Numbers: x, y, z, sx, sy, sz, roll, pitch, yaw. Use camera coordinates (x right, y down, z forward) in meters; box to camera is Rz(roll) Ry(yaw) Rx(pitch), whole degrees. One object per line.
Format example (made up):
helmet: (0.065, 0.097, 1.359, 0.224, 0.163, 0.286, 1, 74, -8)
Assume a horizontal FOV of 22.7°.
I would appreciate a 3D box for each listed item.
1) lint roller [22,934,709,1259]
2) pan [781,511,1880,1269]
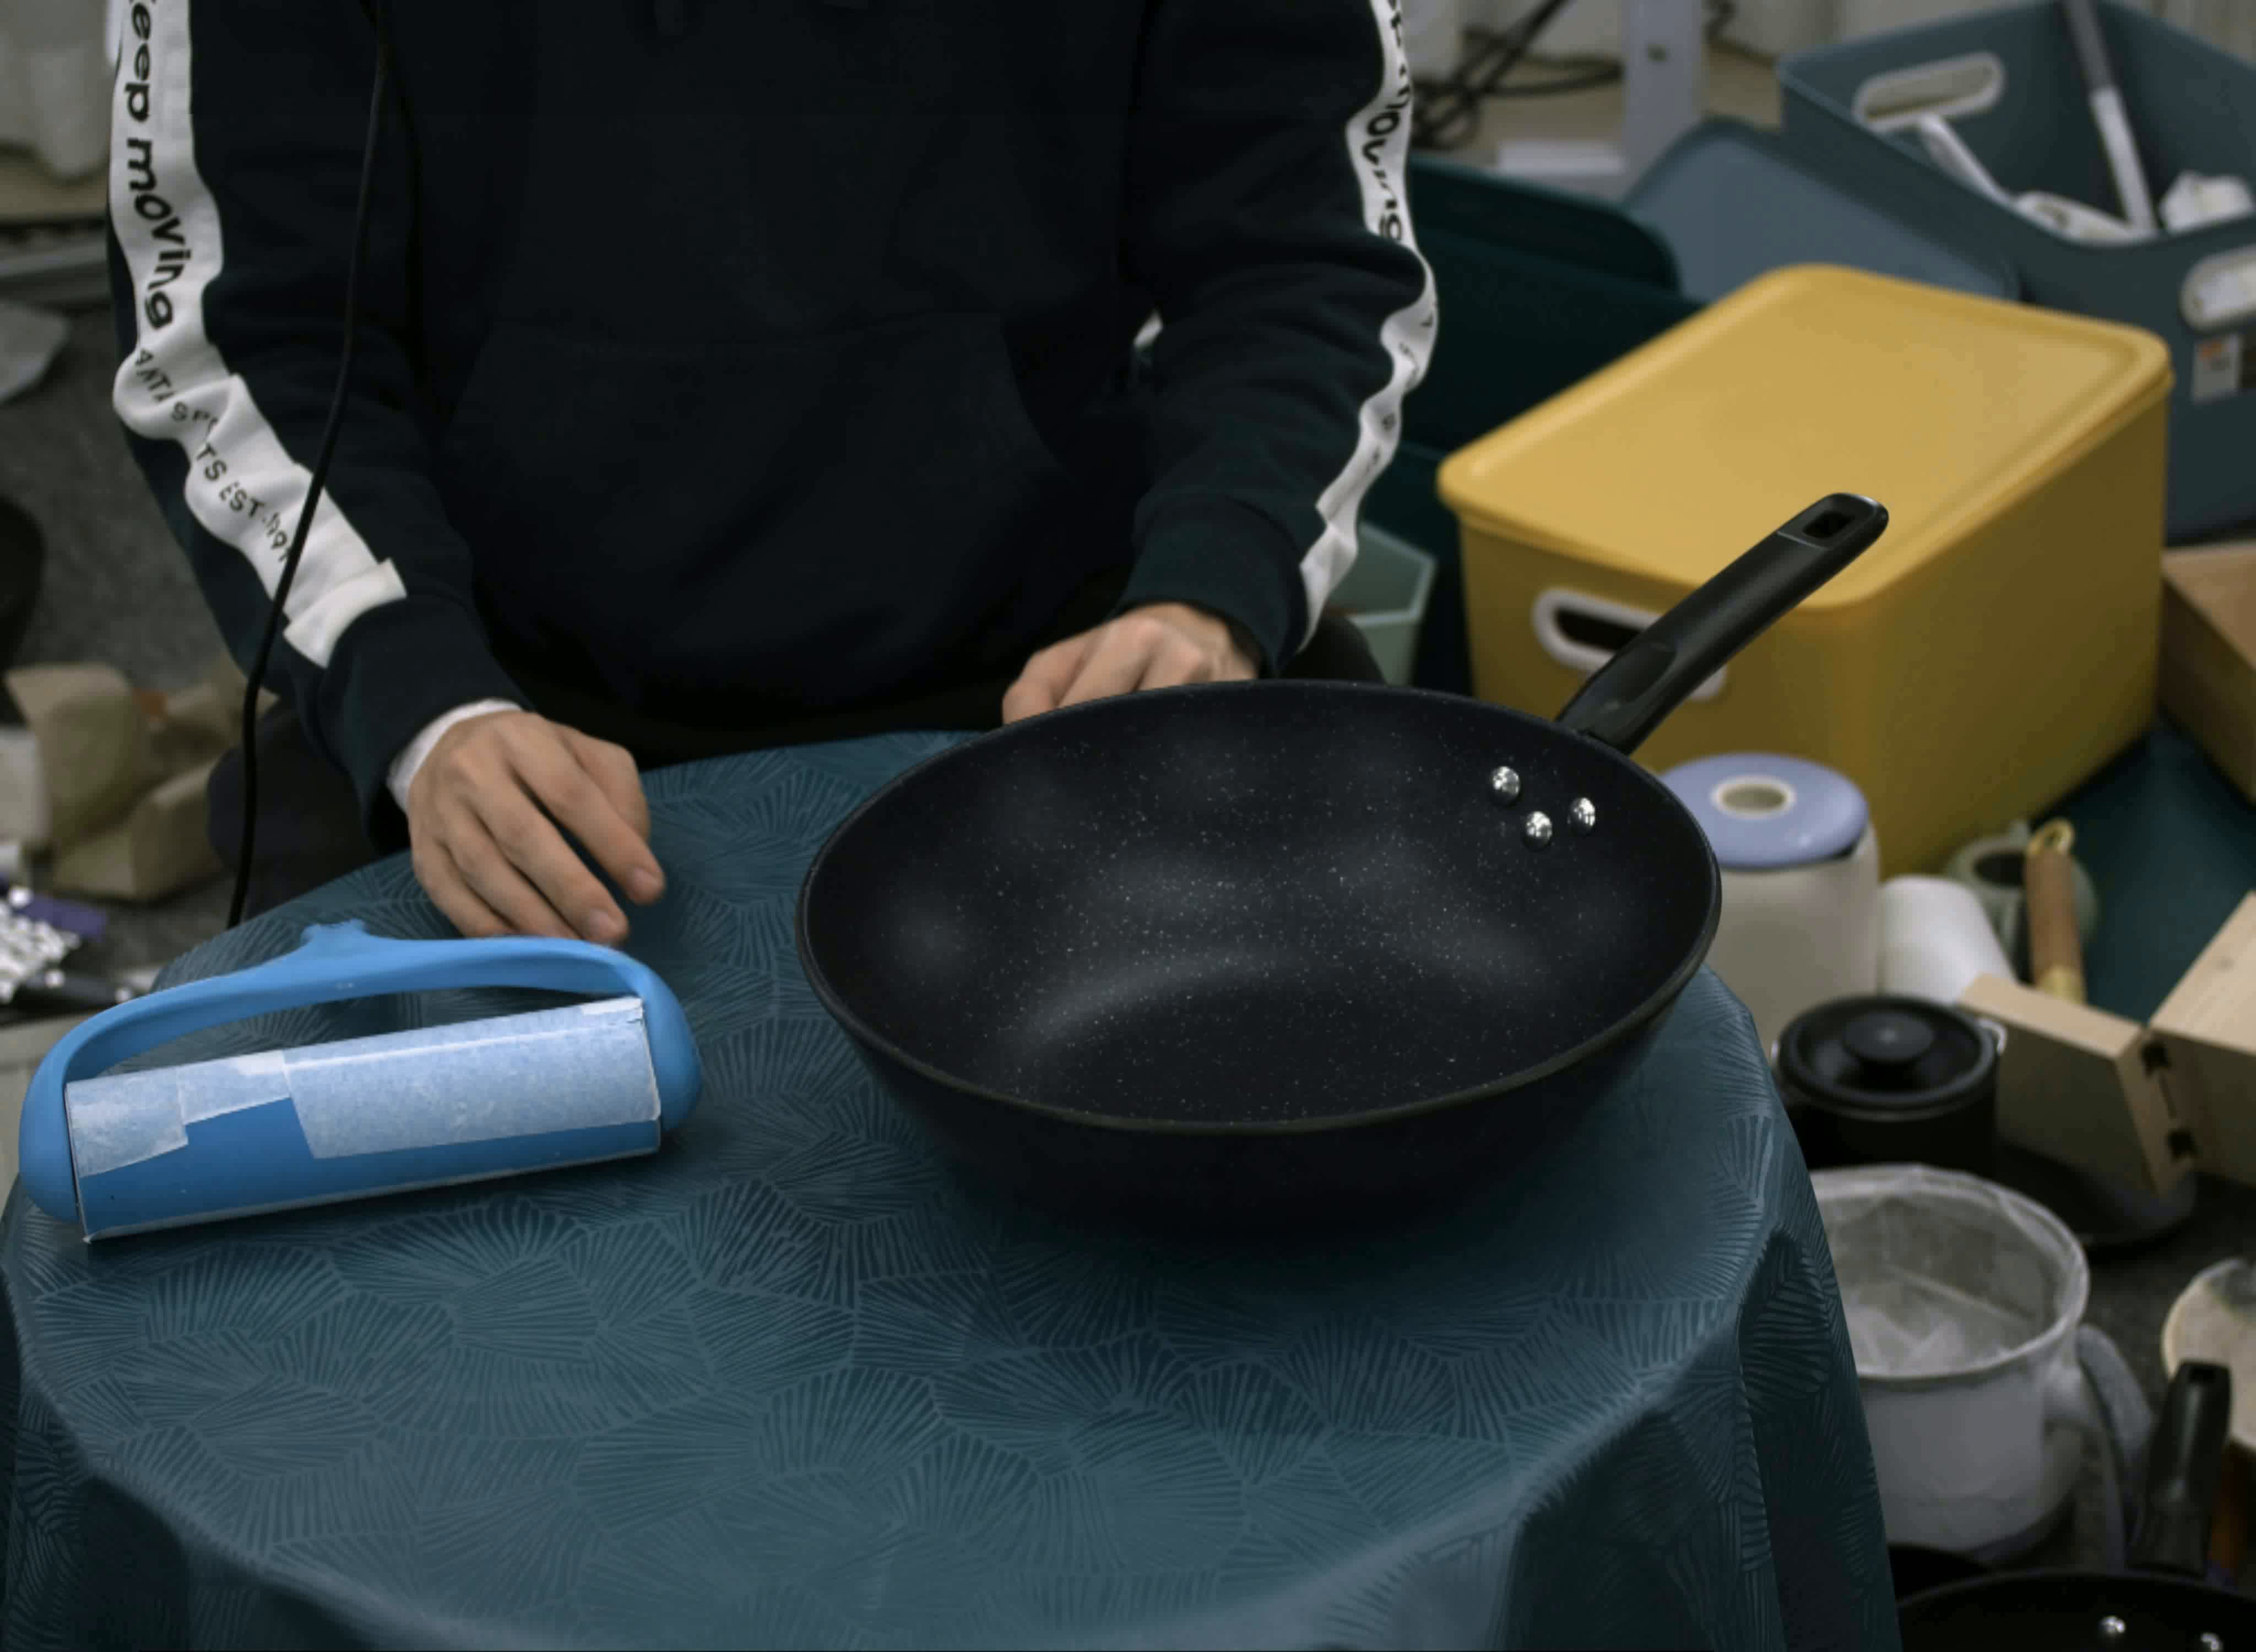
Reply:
lint roller: (-0.269, 0.073, 1.921, 0.229, 0.067, 0.182, -12, 30, -12)
pan: (0.099, 0.021, 1.930, 0.310, 0.110, 0.483, 24, 38, 39)
